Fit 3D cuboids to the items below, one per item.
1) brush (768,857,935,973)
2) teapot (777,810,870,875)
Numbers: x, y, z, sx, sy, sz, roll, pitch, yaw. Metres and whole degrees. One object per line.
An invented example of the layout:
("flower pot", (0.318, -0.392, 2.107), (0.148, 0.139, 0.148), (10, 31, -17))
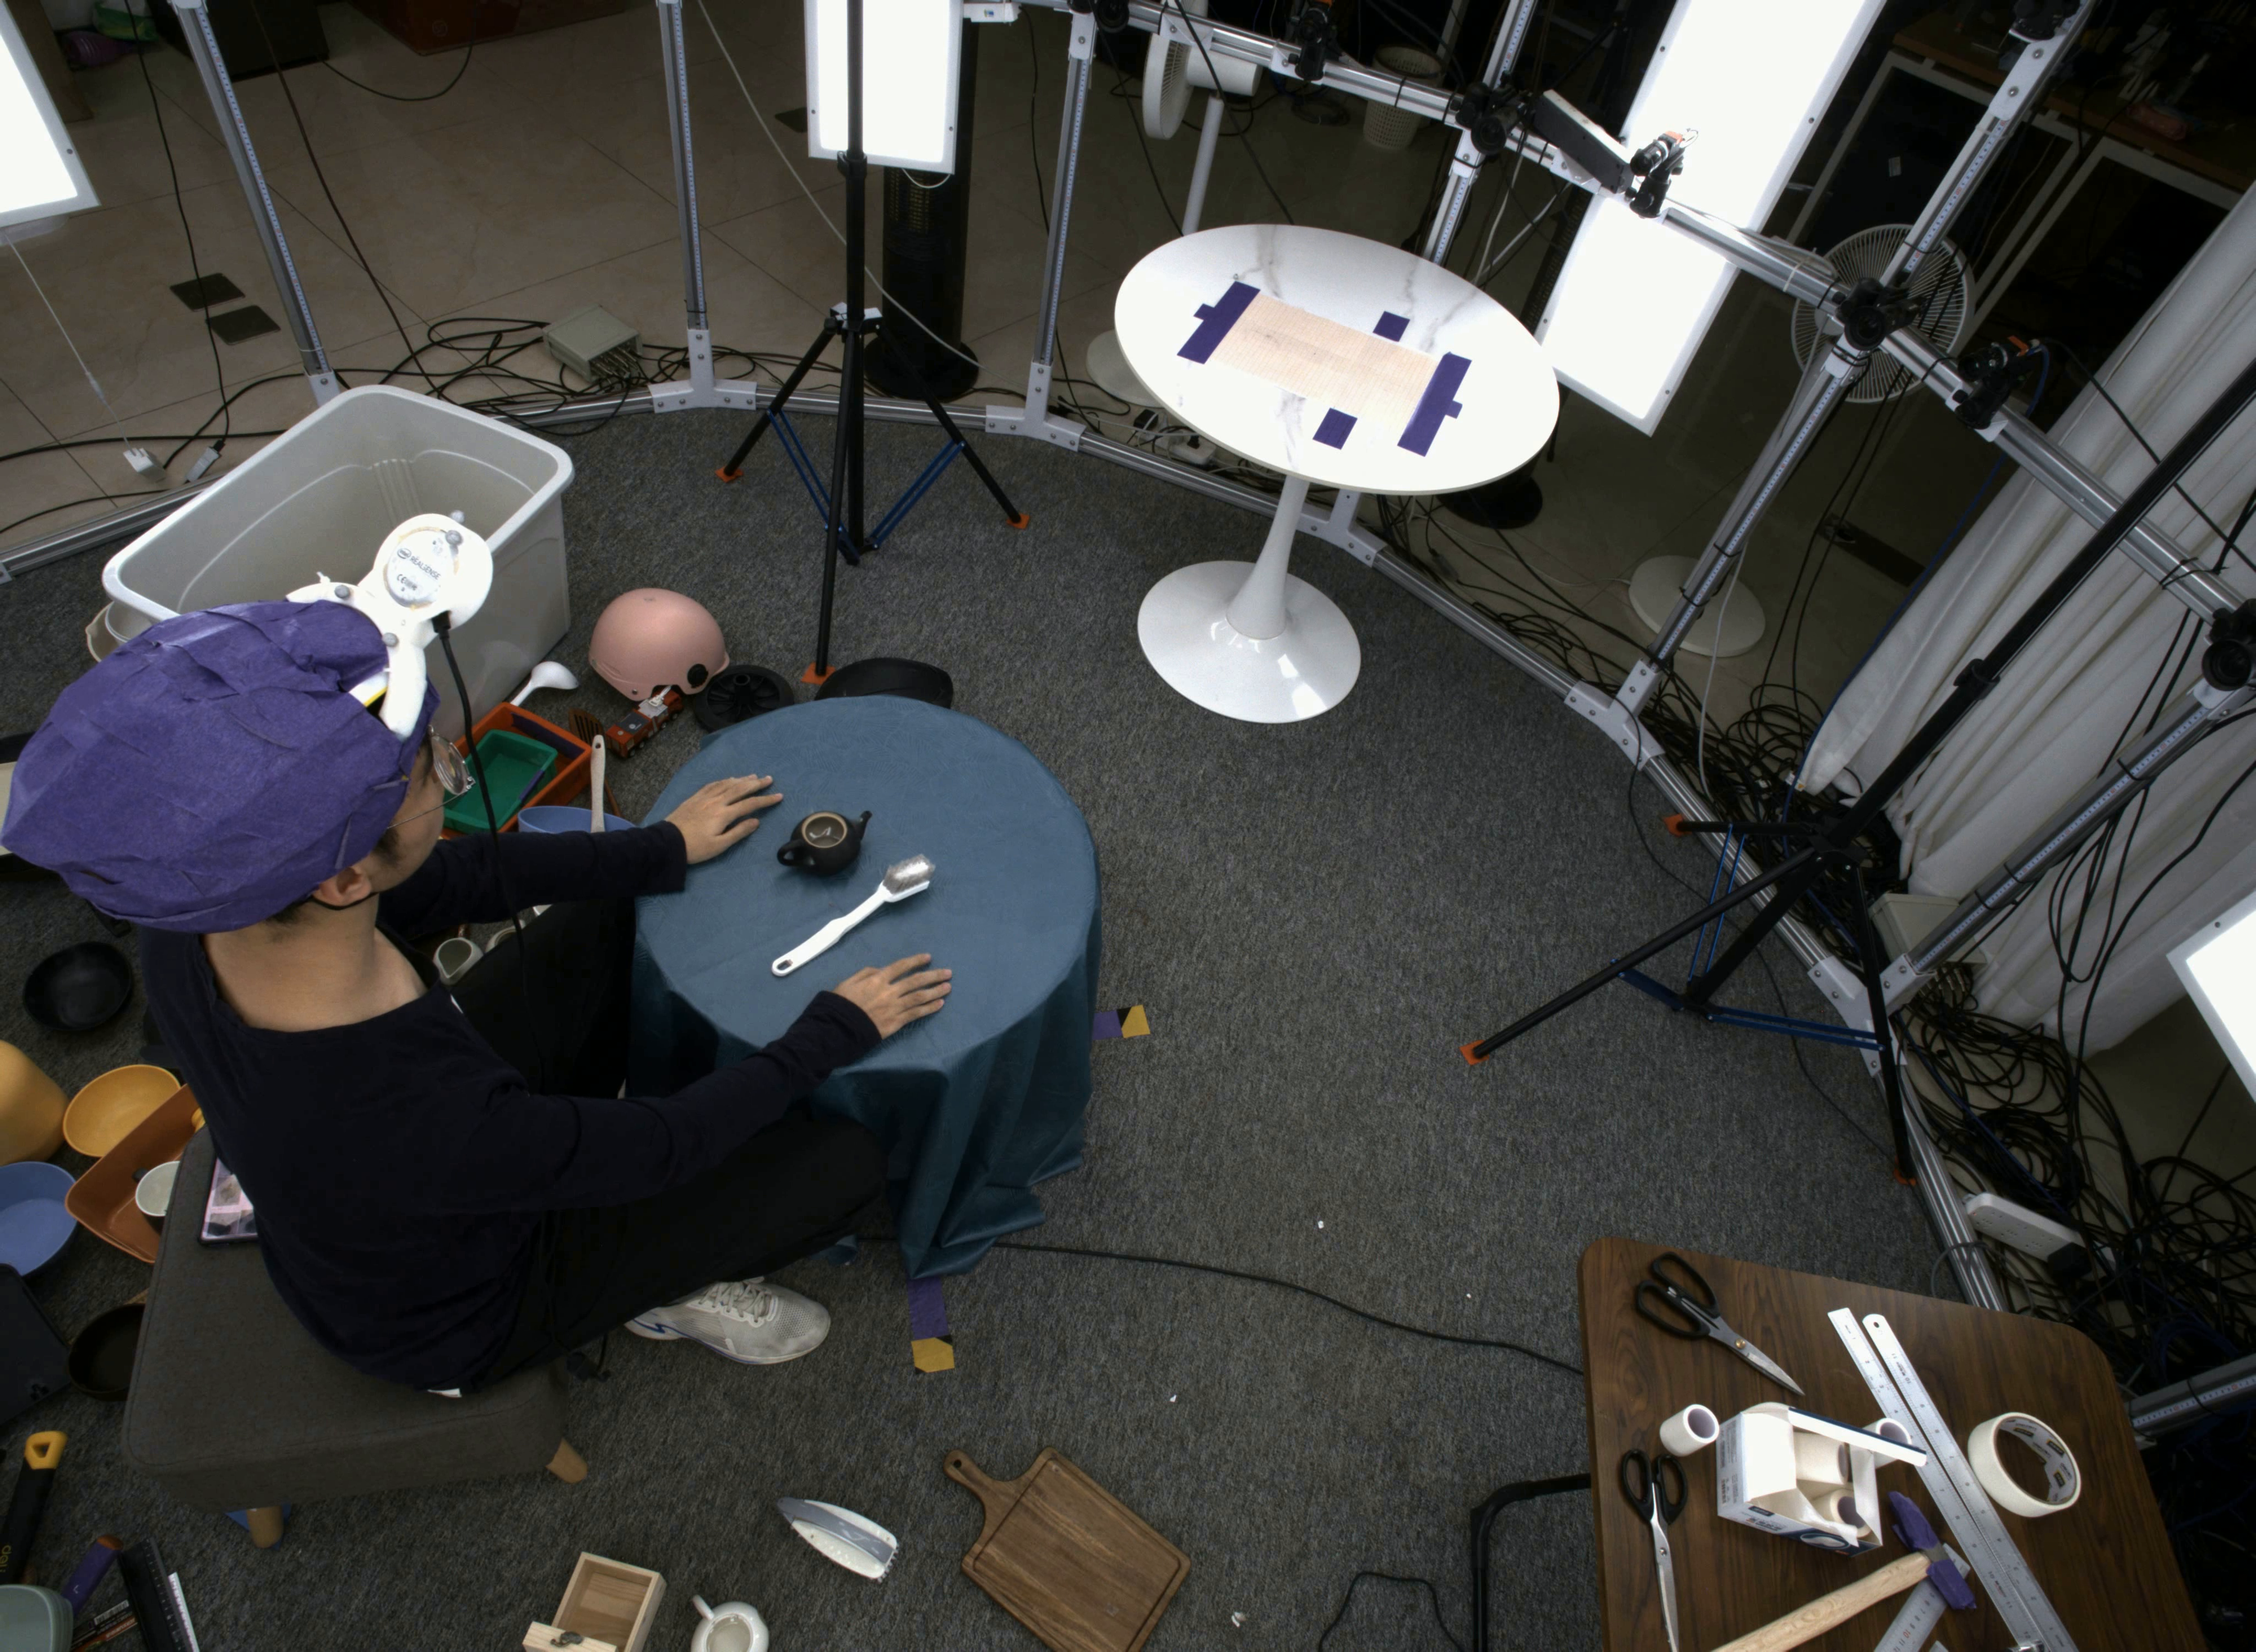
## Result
("brush", (-0.347, 0.107, 1.635), (0.244, 0.051, 0.033), (-32, 66, -31))
("teapot", (-0.394, 0.020, 1.684), (0.134, 0.054, 0.088), (-26, 60, -28))
